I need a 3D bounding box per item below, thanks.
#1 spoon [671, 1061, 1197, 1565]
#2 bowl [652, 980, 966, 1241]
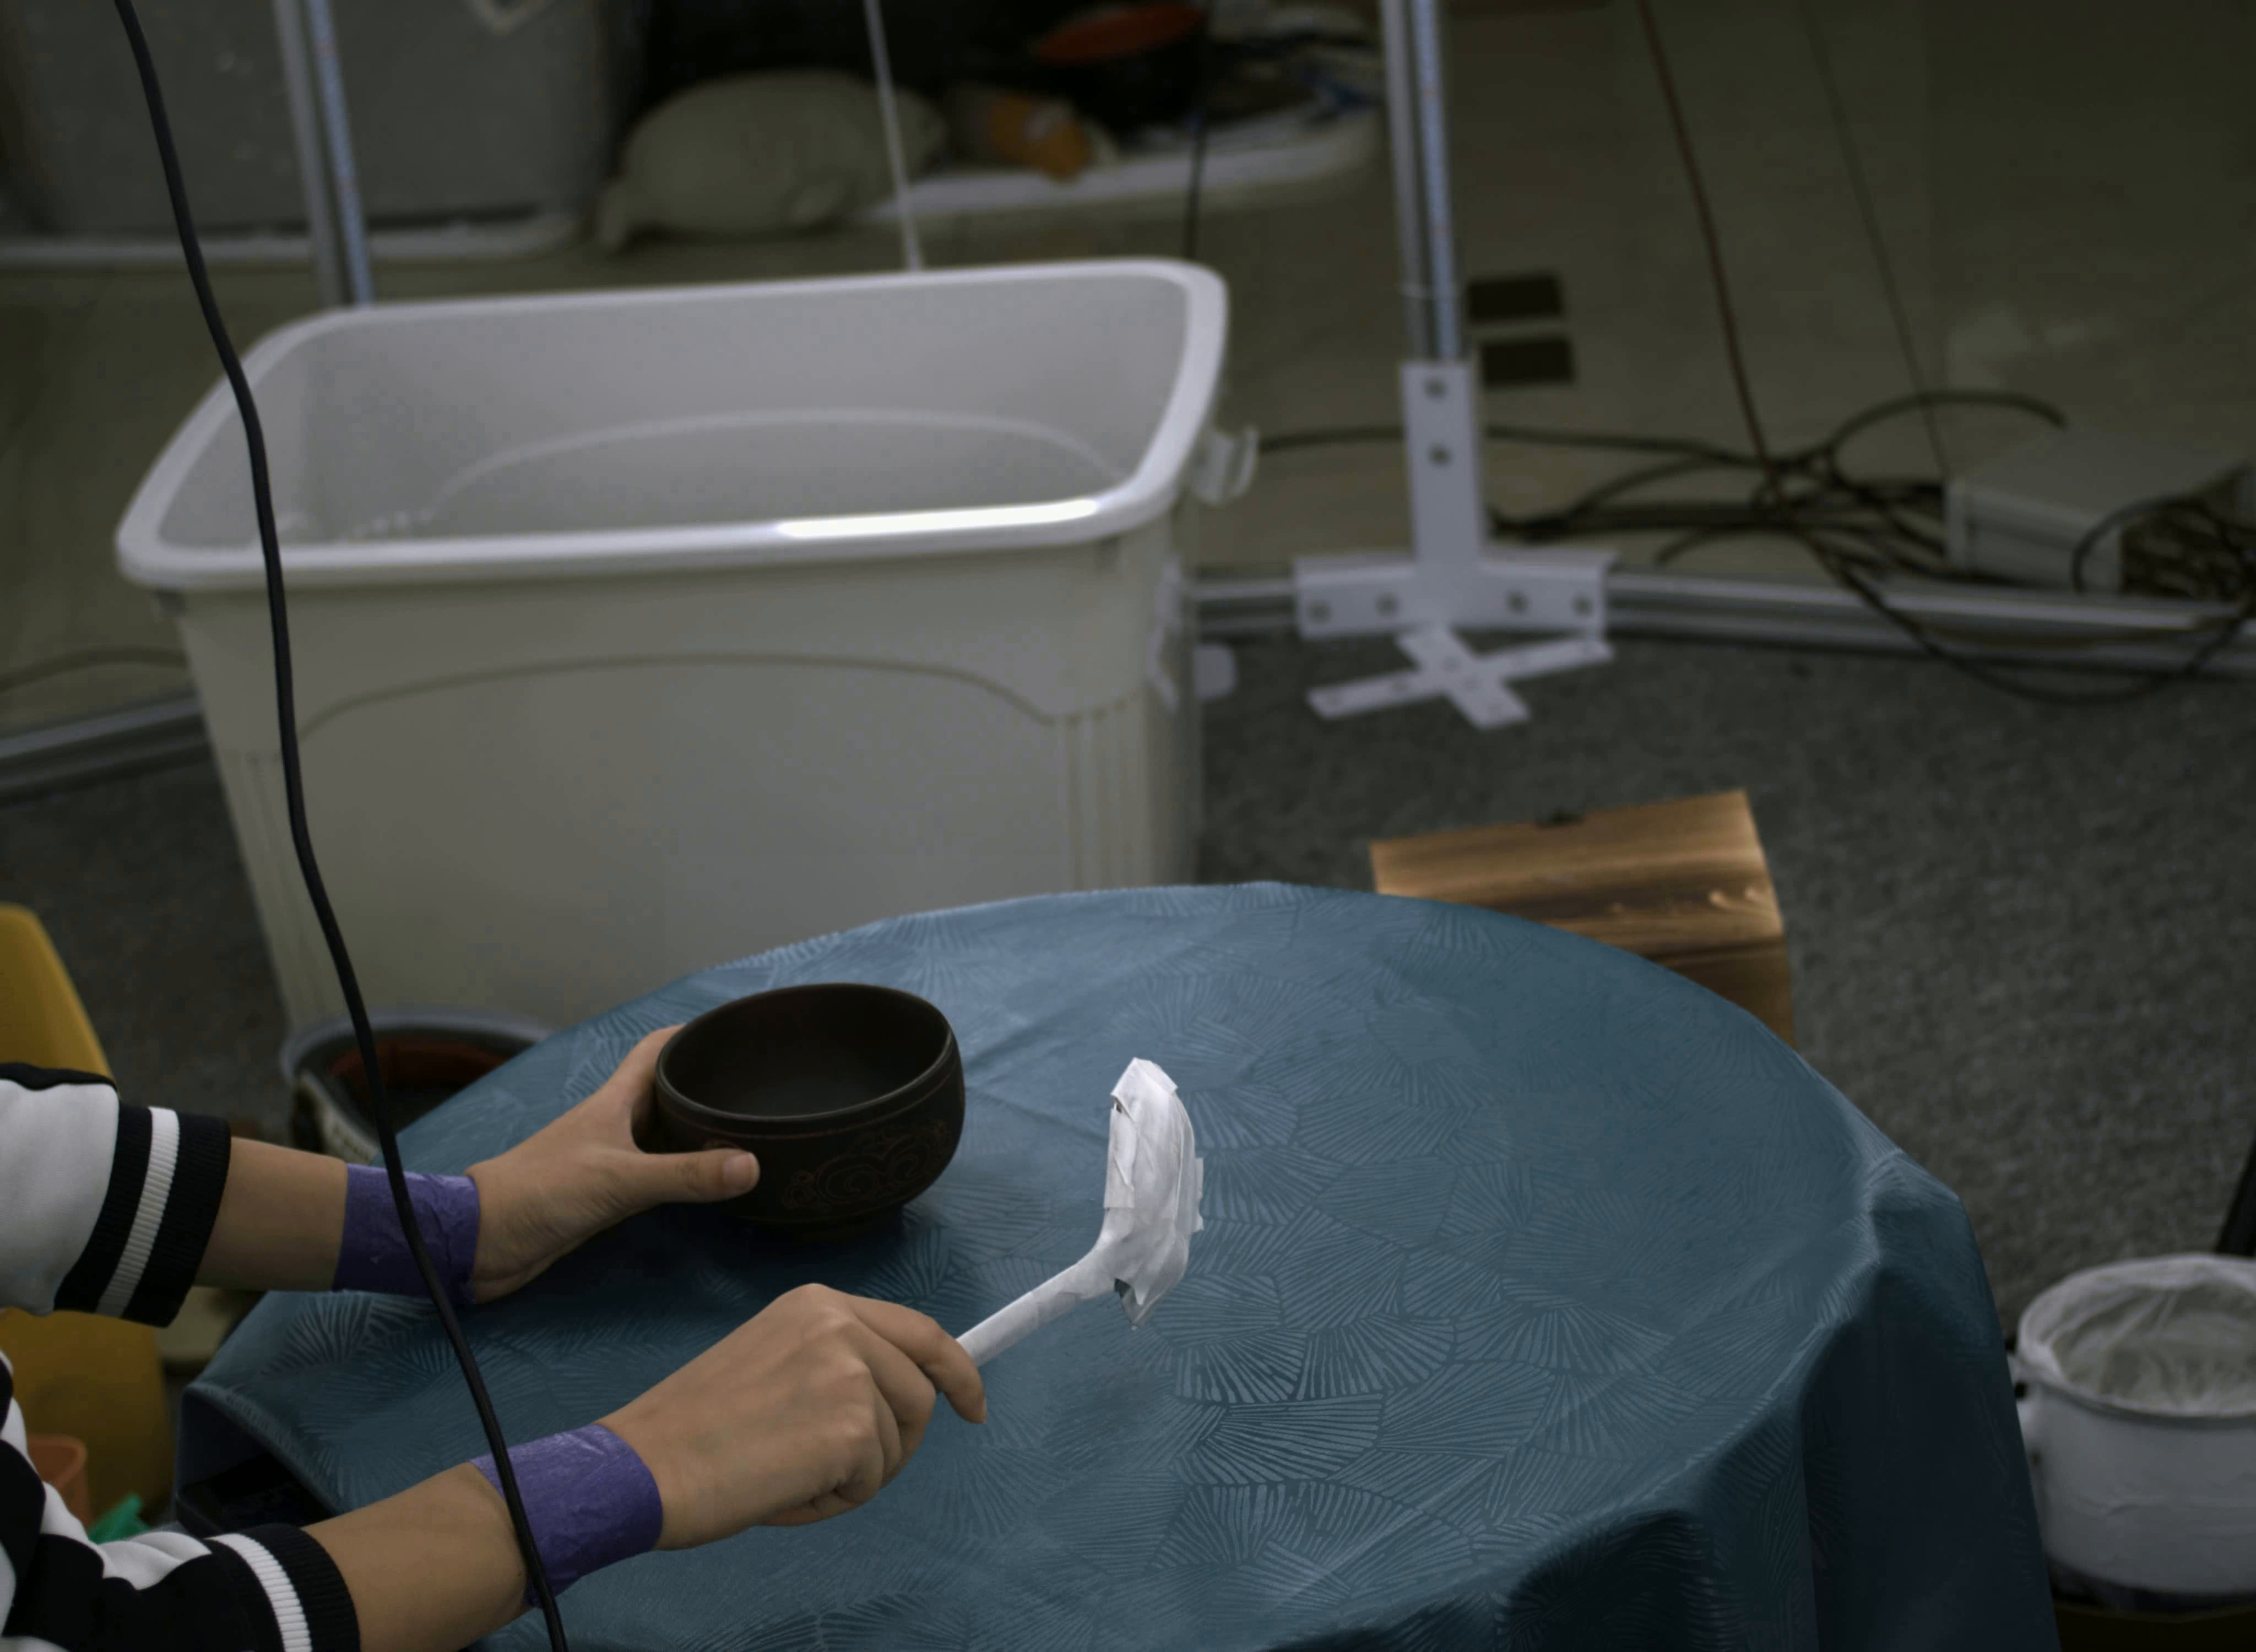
[{"bbox_3d":[-0.066,0.175,1.936,0.275,0.102,0.059,-32,32,-33],"label":"spoon"},{"bbox_3d":[-0.119,0.113,2.144,0.118,0.071,0.116,-5,25,3],"label":"bowl"}]
